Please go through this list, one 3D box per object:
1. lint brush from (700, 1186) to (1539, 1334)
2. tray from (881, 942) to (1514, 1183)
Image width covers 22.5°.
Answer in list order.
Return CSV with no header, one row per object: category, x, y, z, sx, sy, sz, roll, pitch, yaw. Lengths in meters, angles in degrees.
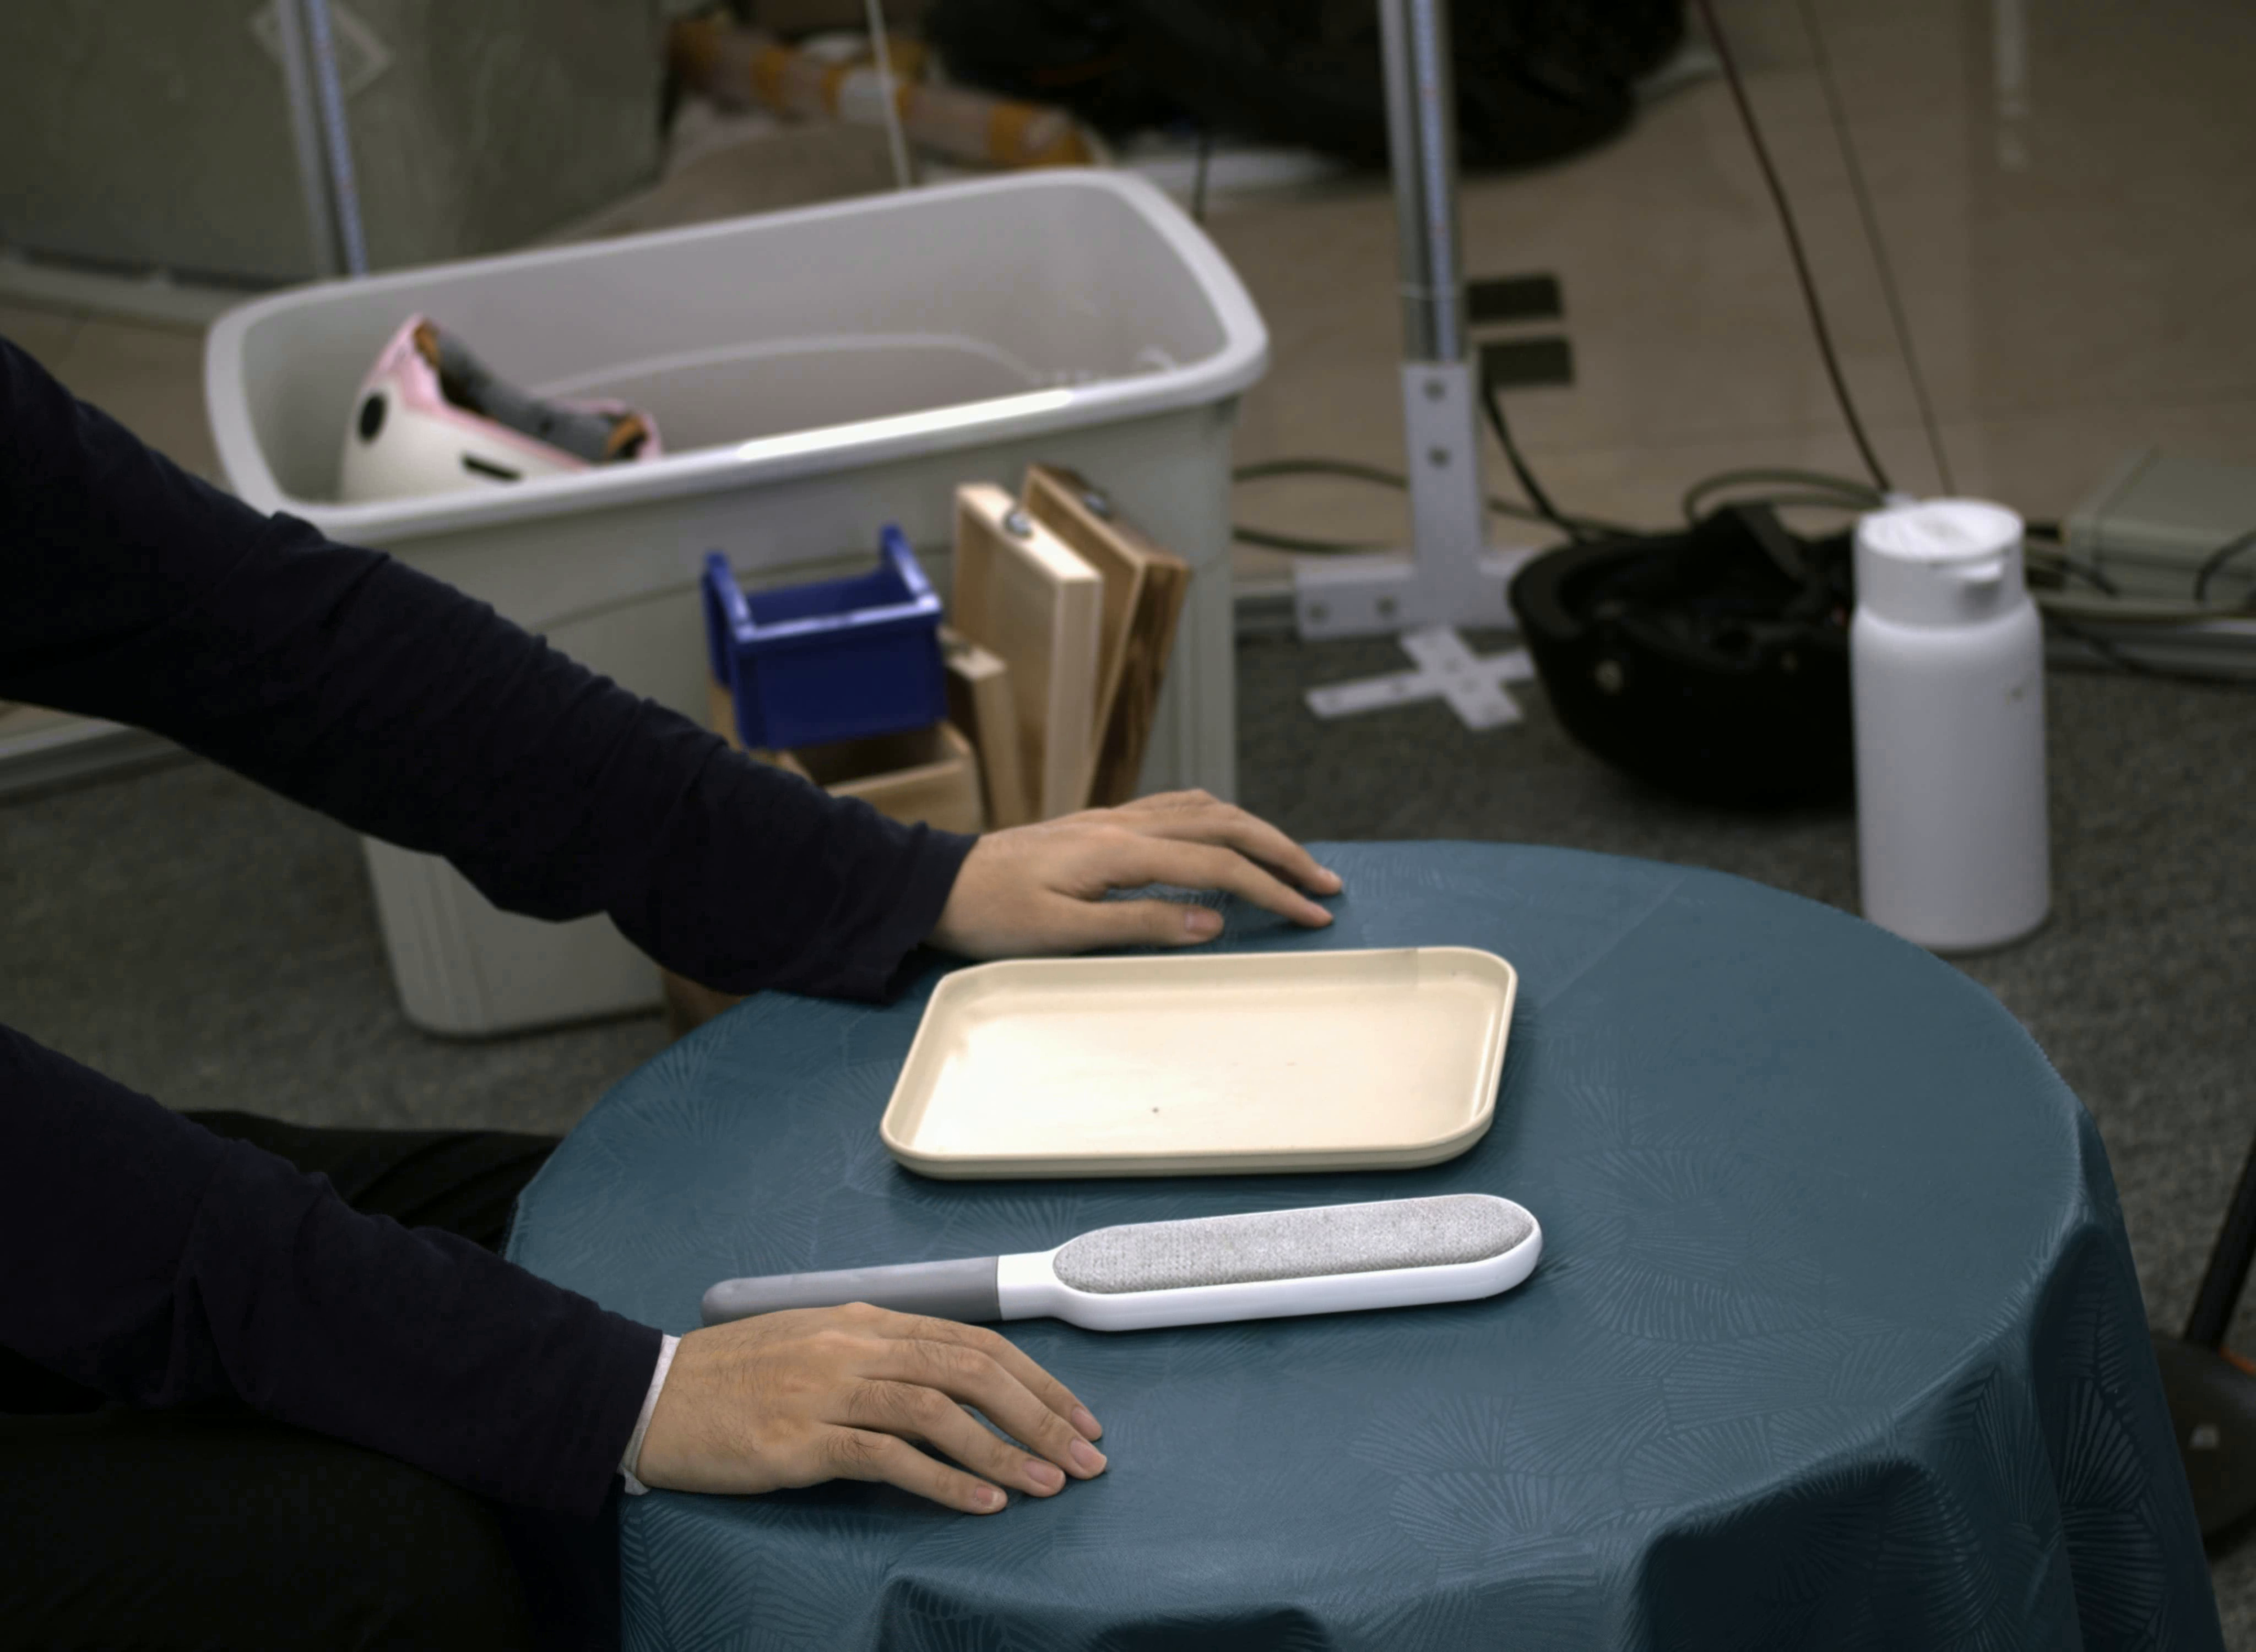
lint brush,-0.004,0.161,2.072,0.308,0.021,0.059,-5,30,4
tray,0.029,0.094,2.221,0.239,0.018,0.169,-2,26,10
